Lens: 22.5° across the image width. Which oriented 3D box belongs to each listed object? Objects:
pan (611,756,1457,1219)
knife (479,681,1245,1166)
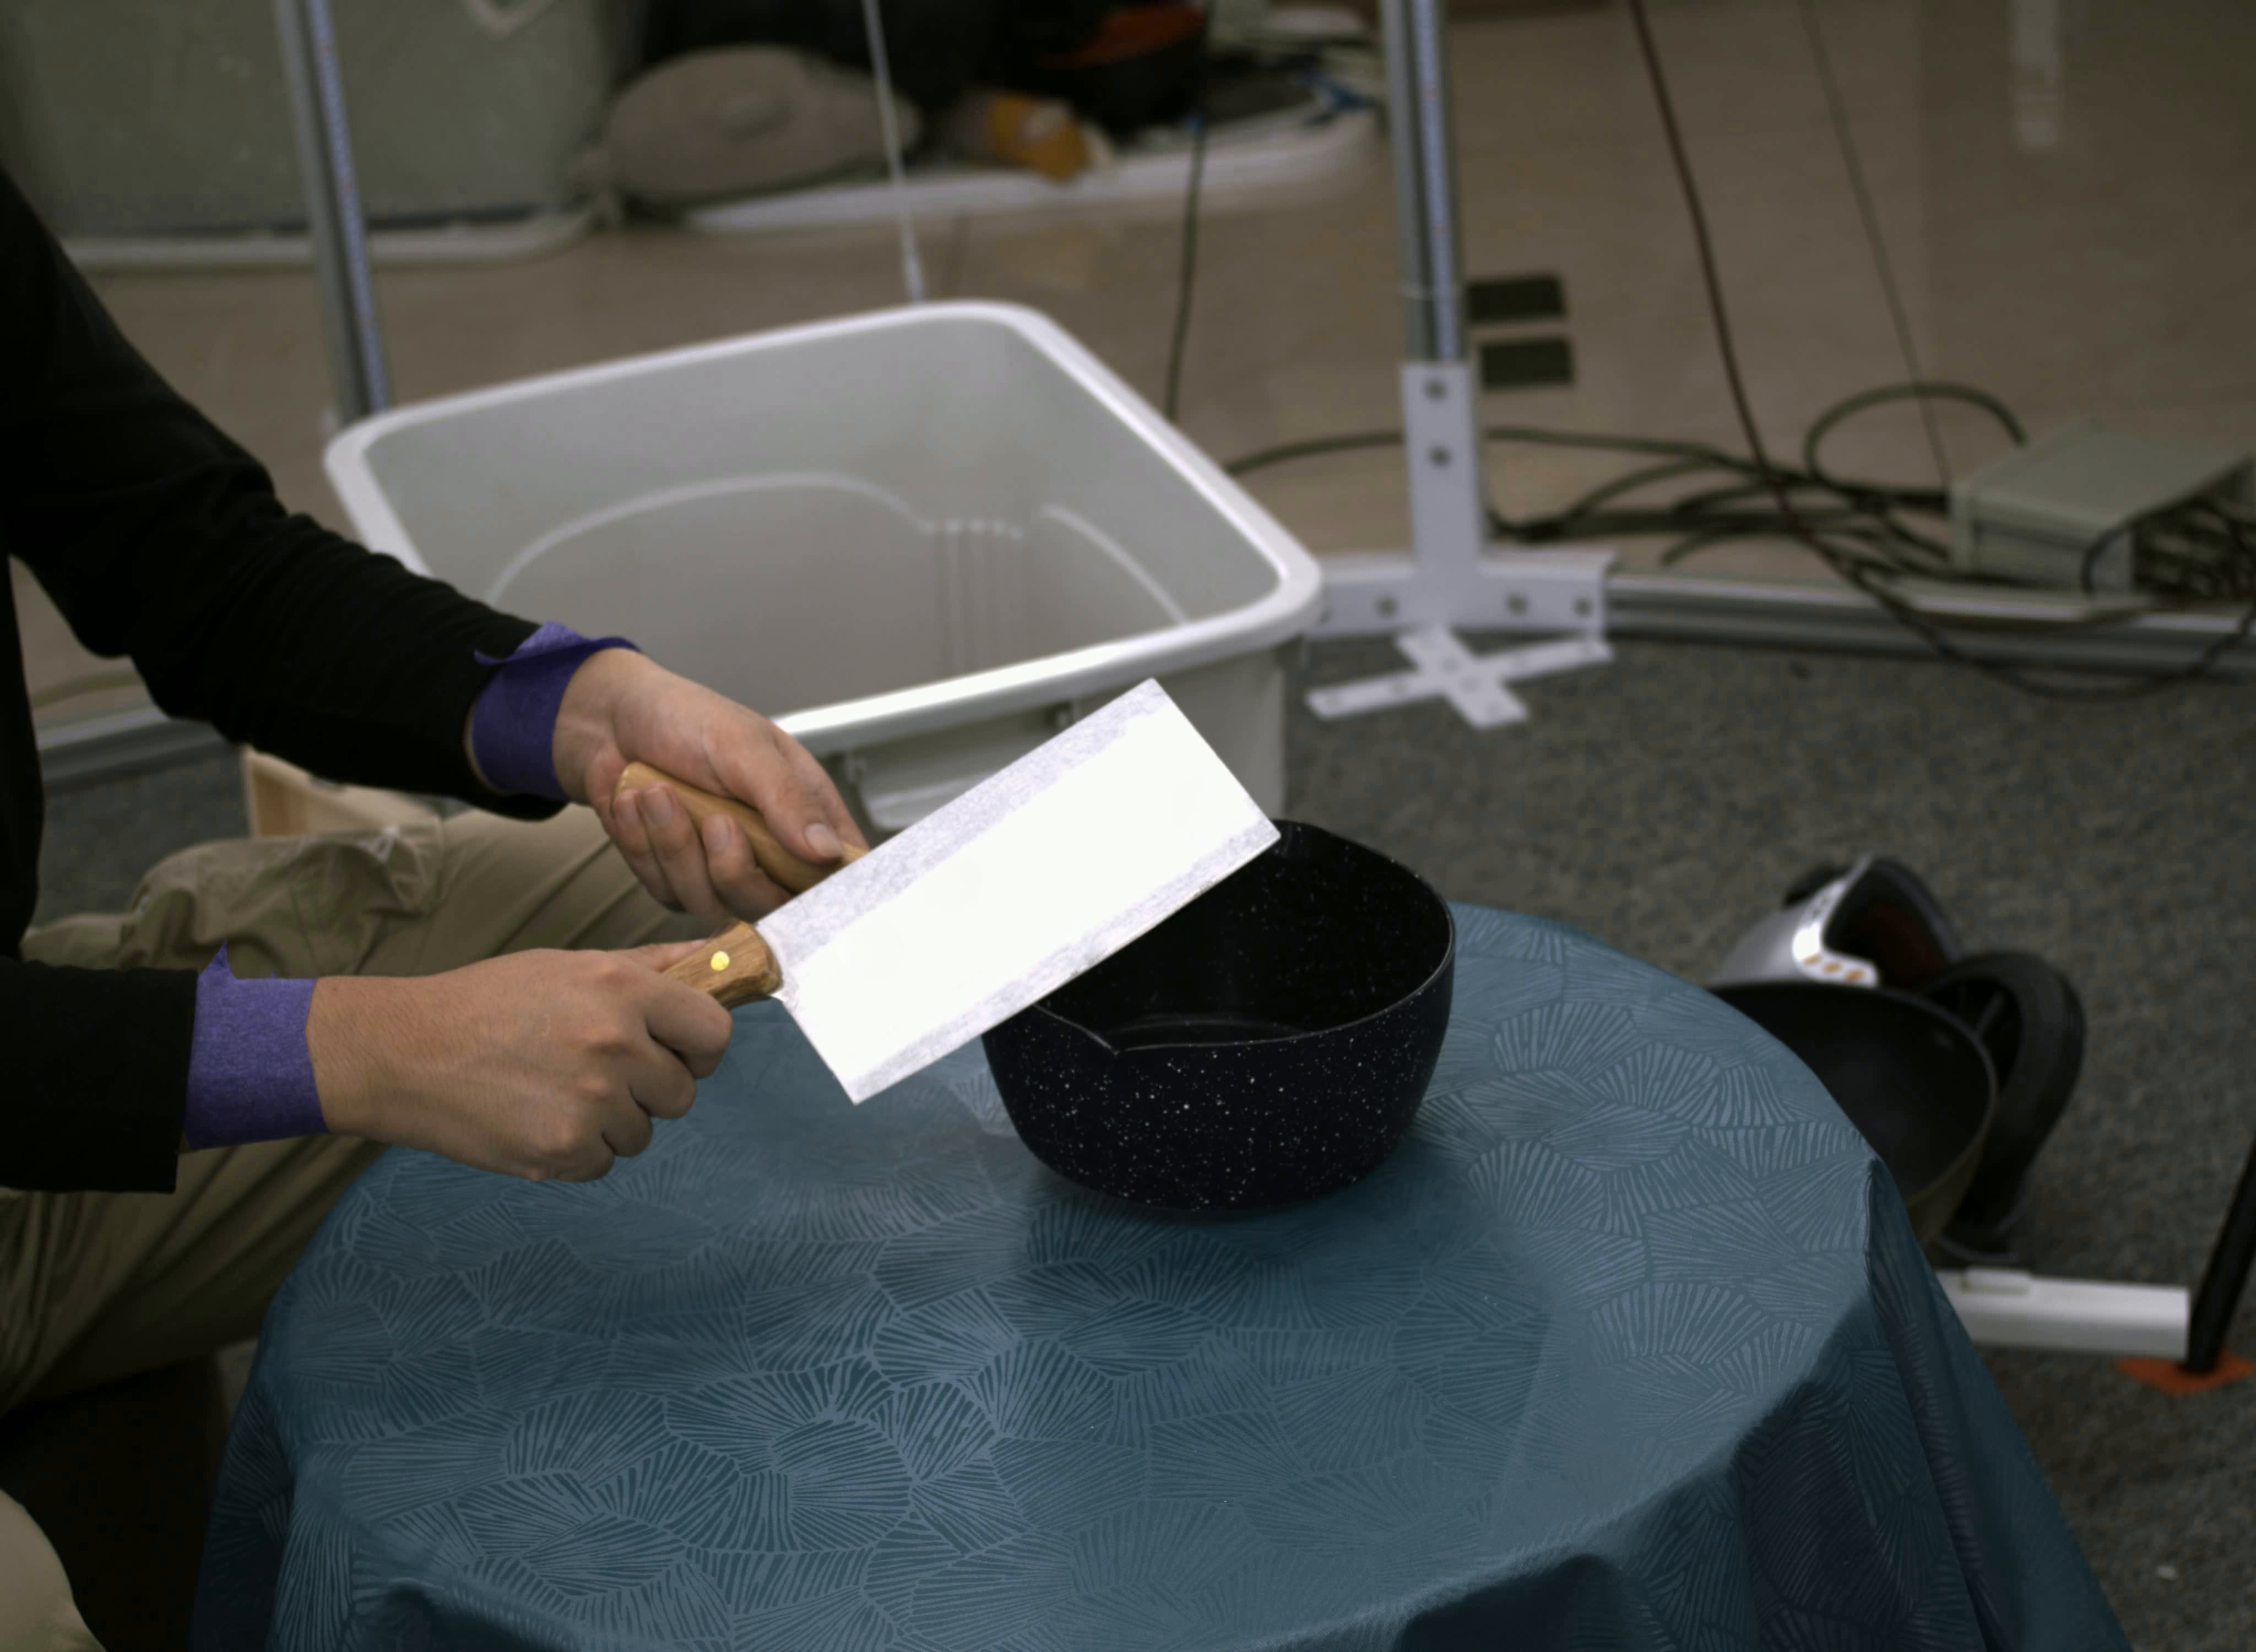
[{"bbox_3d":[-0.043,0.053,2.178,0.341,0.110,0.204,11,29,16],"label":"pan"},{"bbox_3d":[-0.093,0.051,2.102,0.304,0.021,0.092,-32,62,-10],"label":"knife"}]
